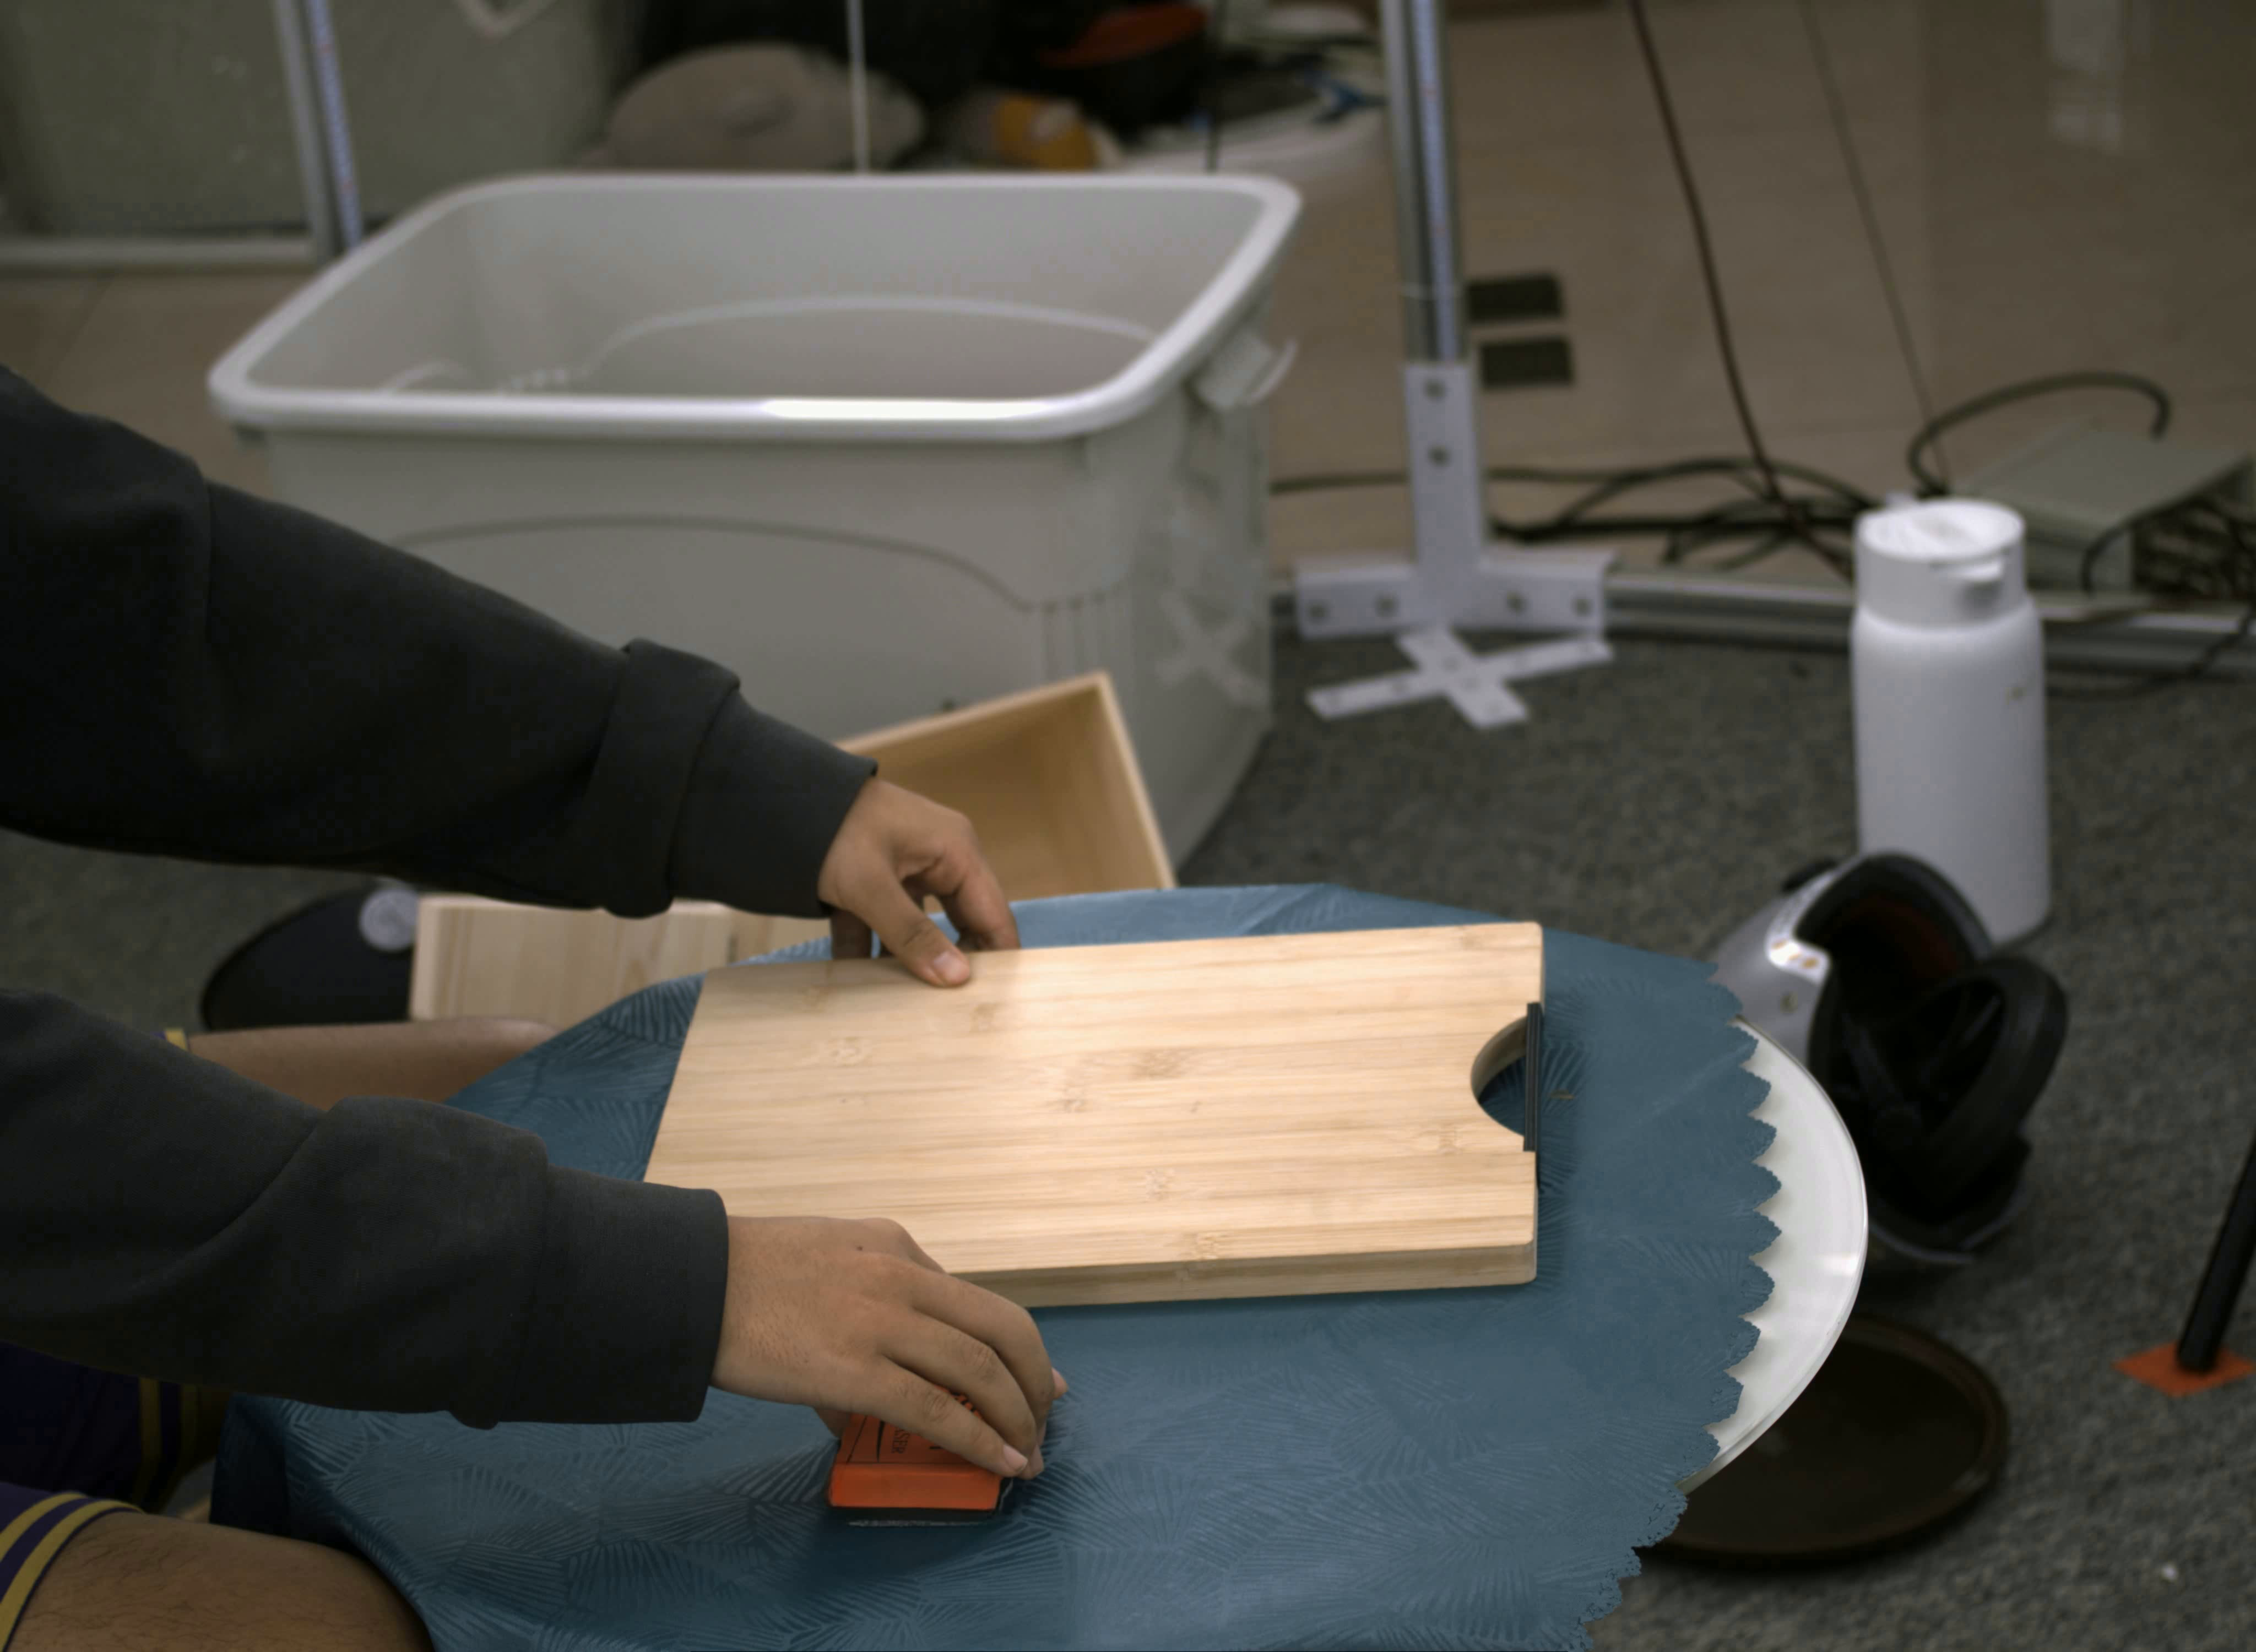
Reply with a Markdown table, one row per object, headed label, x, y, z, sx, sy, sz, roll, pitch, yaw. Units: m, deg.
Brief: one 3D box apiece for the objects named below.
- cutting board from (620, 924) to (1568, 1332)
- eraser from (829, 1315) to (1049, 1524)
| label | x | y | z | sx | sy | sz | roll | pitch | yaw |
| --- | --- | --- | --- | --- | --- | --- | --- | --- | --- |
| cutting board | -0.006 | 0.112 | 2.172 | 0.348 | 0.024 | 0.247 | -4 | 28 | 6 |
| eraser | -0.065 | 0.207 | 1.988 | 0.059 | 0.023 | 0.106 | -1 | 25 | 13 |
